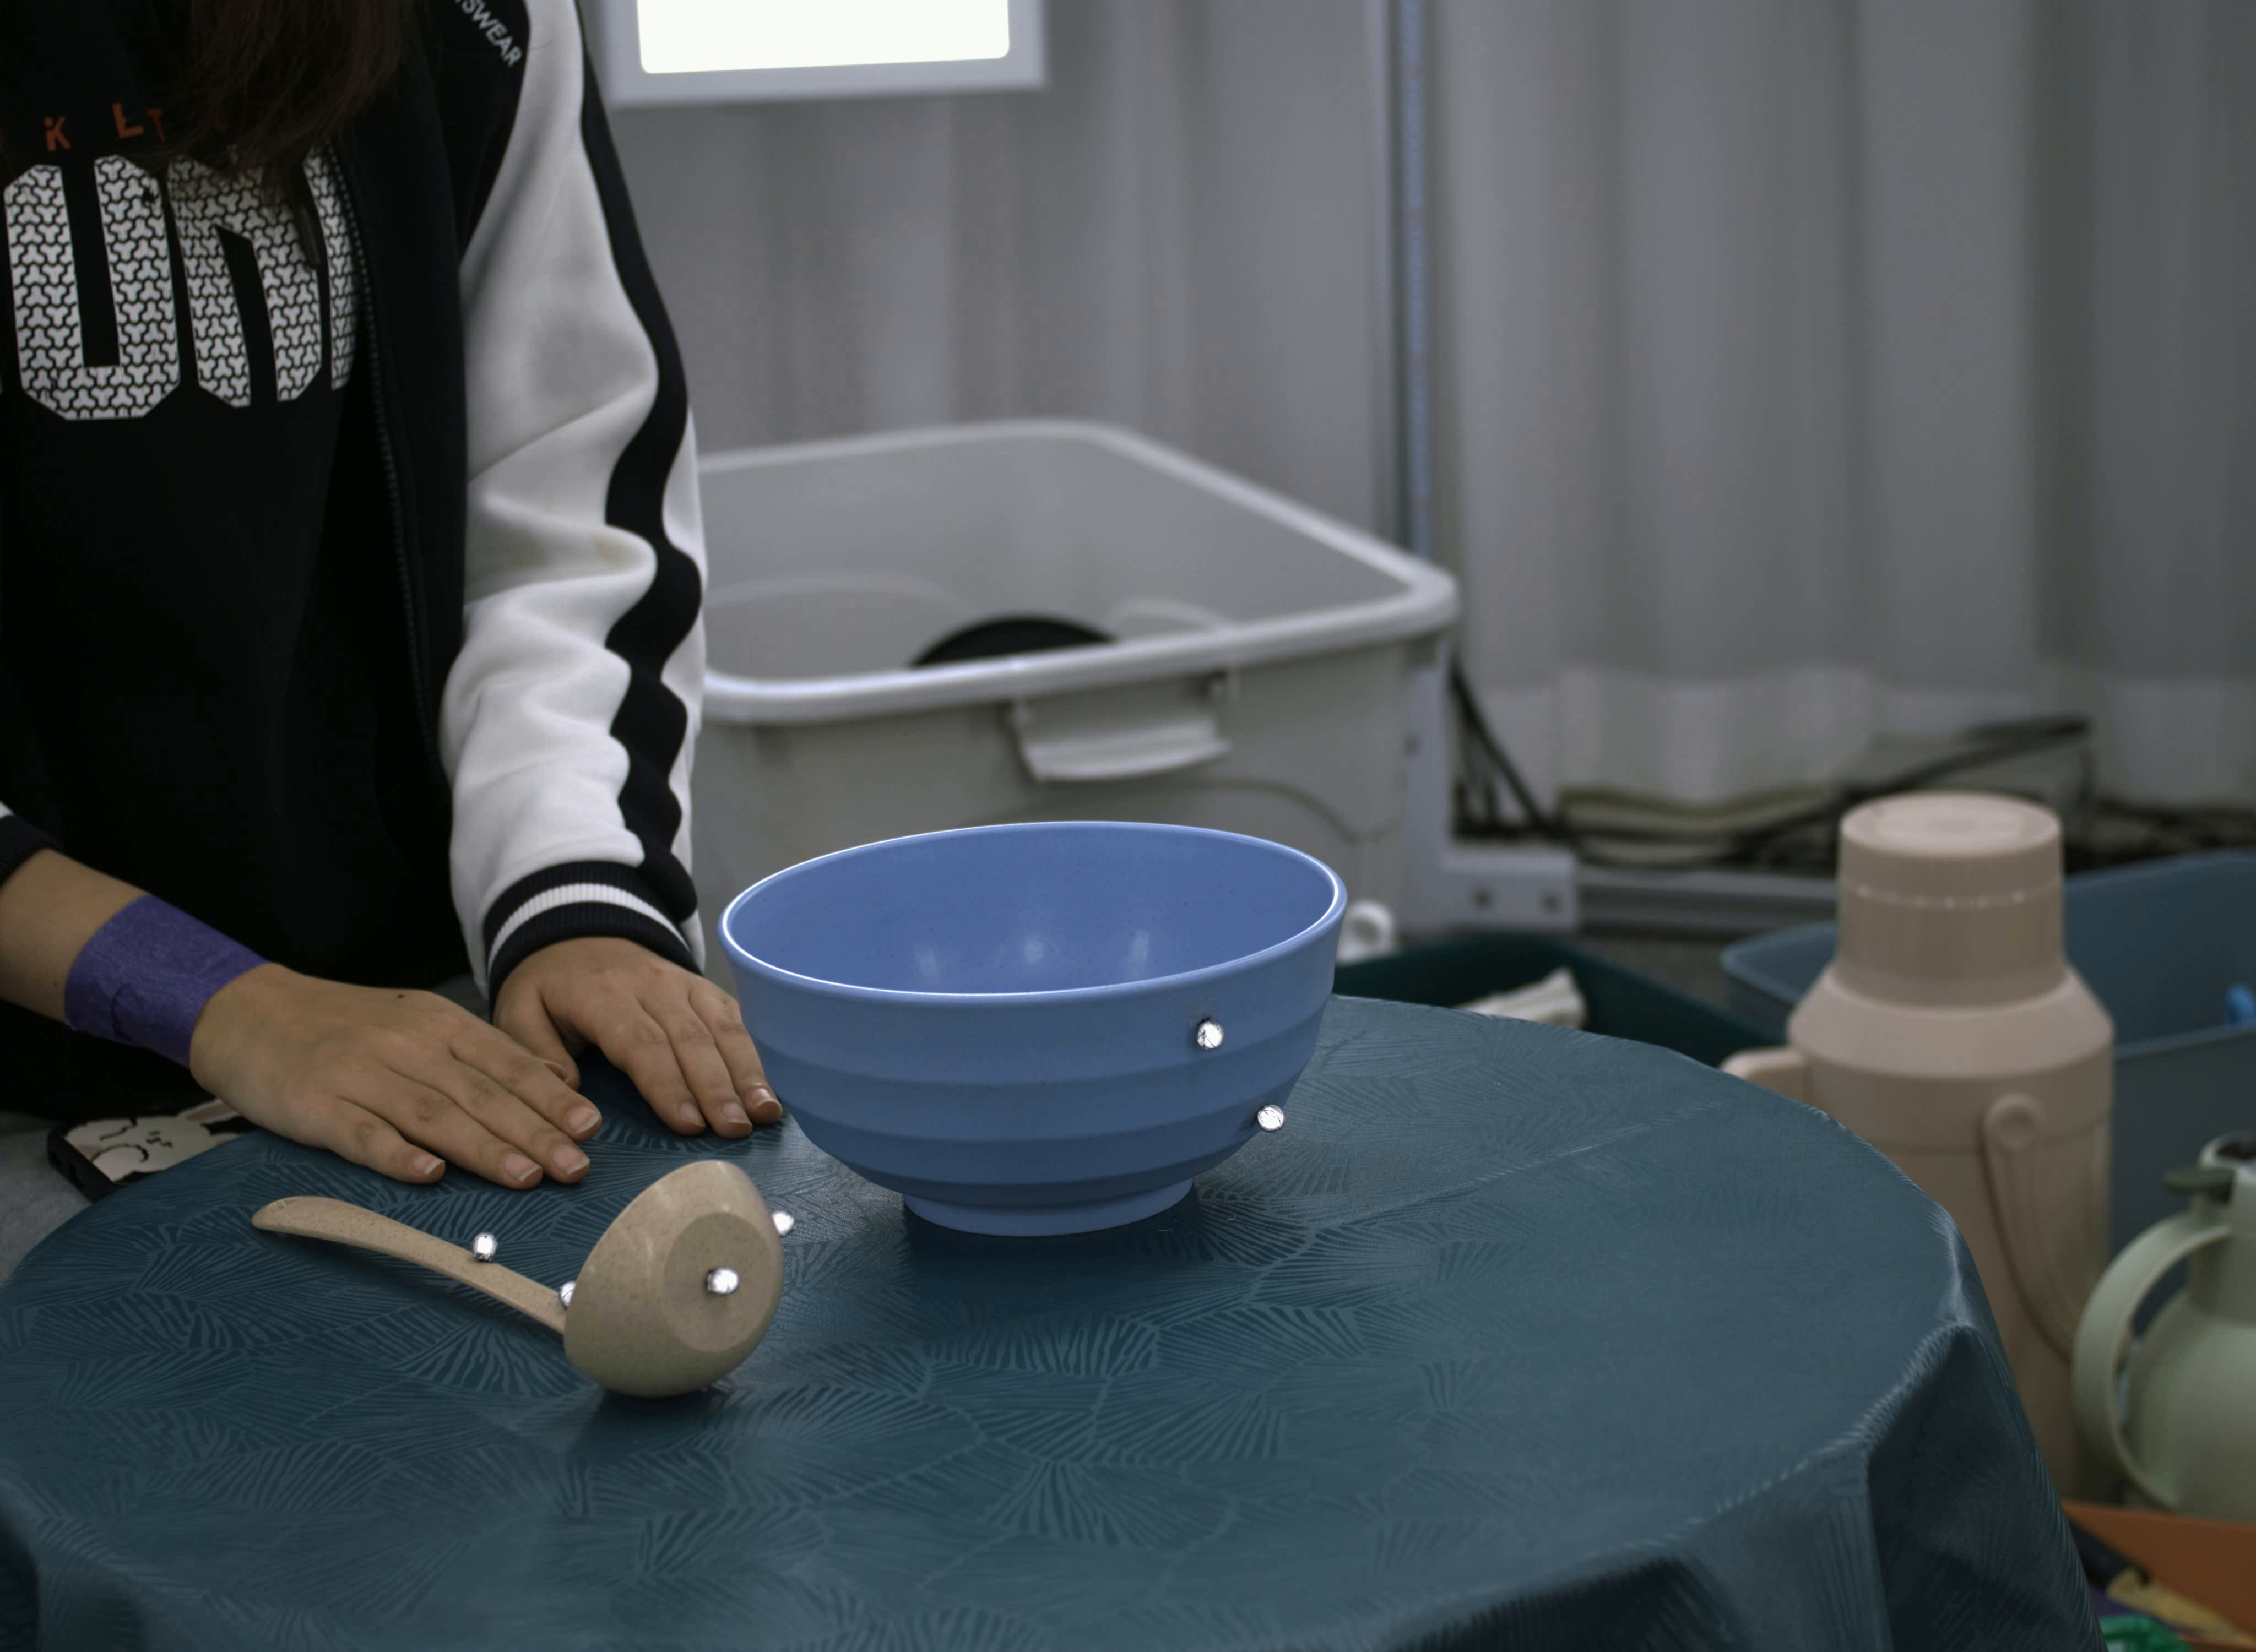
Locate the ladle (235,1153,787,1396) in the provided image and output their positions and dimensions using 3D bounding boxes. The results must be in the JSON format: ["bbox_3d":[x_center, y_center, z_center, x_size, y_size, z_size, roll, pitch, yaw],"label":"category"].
[{"bbox_3d":[-0.198,0.112,1.623,0.072,0.072,0.256,-29,27,-36],"label":"ladle"}]

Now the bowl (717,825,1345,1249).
[{"bbox_3d":[-0.027,0.072,1.709,0.196,0.095,0.198,-4,15,1],"label":"bowl"}]
